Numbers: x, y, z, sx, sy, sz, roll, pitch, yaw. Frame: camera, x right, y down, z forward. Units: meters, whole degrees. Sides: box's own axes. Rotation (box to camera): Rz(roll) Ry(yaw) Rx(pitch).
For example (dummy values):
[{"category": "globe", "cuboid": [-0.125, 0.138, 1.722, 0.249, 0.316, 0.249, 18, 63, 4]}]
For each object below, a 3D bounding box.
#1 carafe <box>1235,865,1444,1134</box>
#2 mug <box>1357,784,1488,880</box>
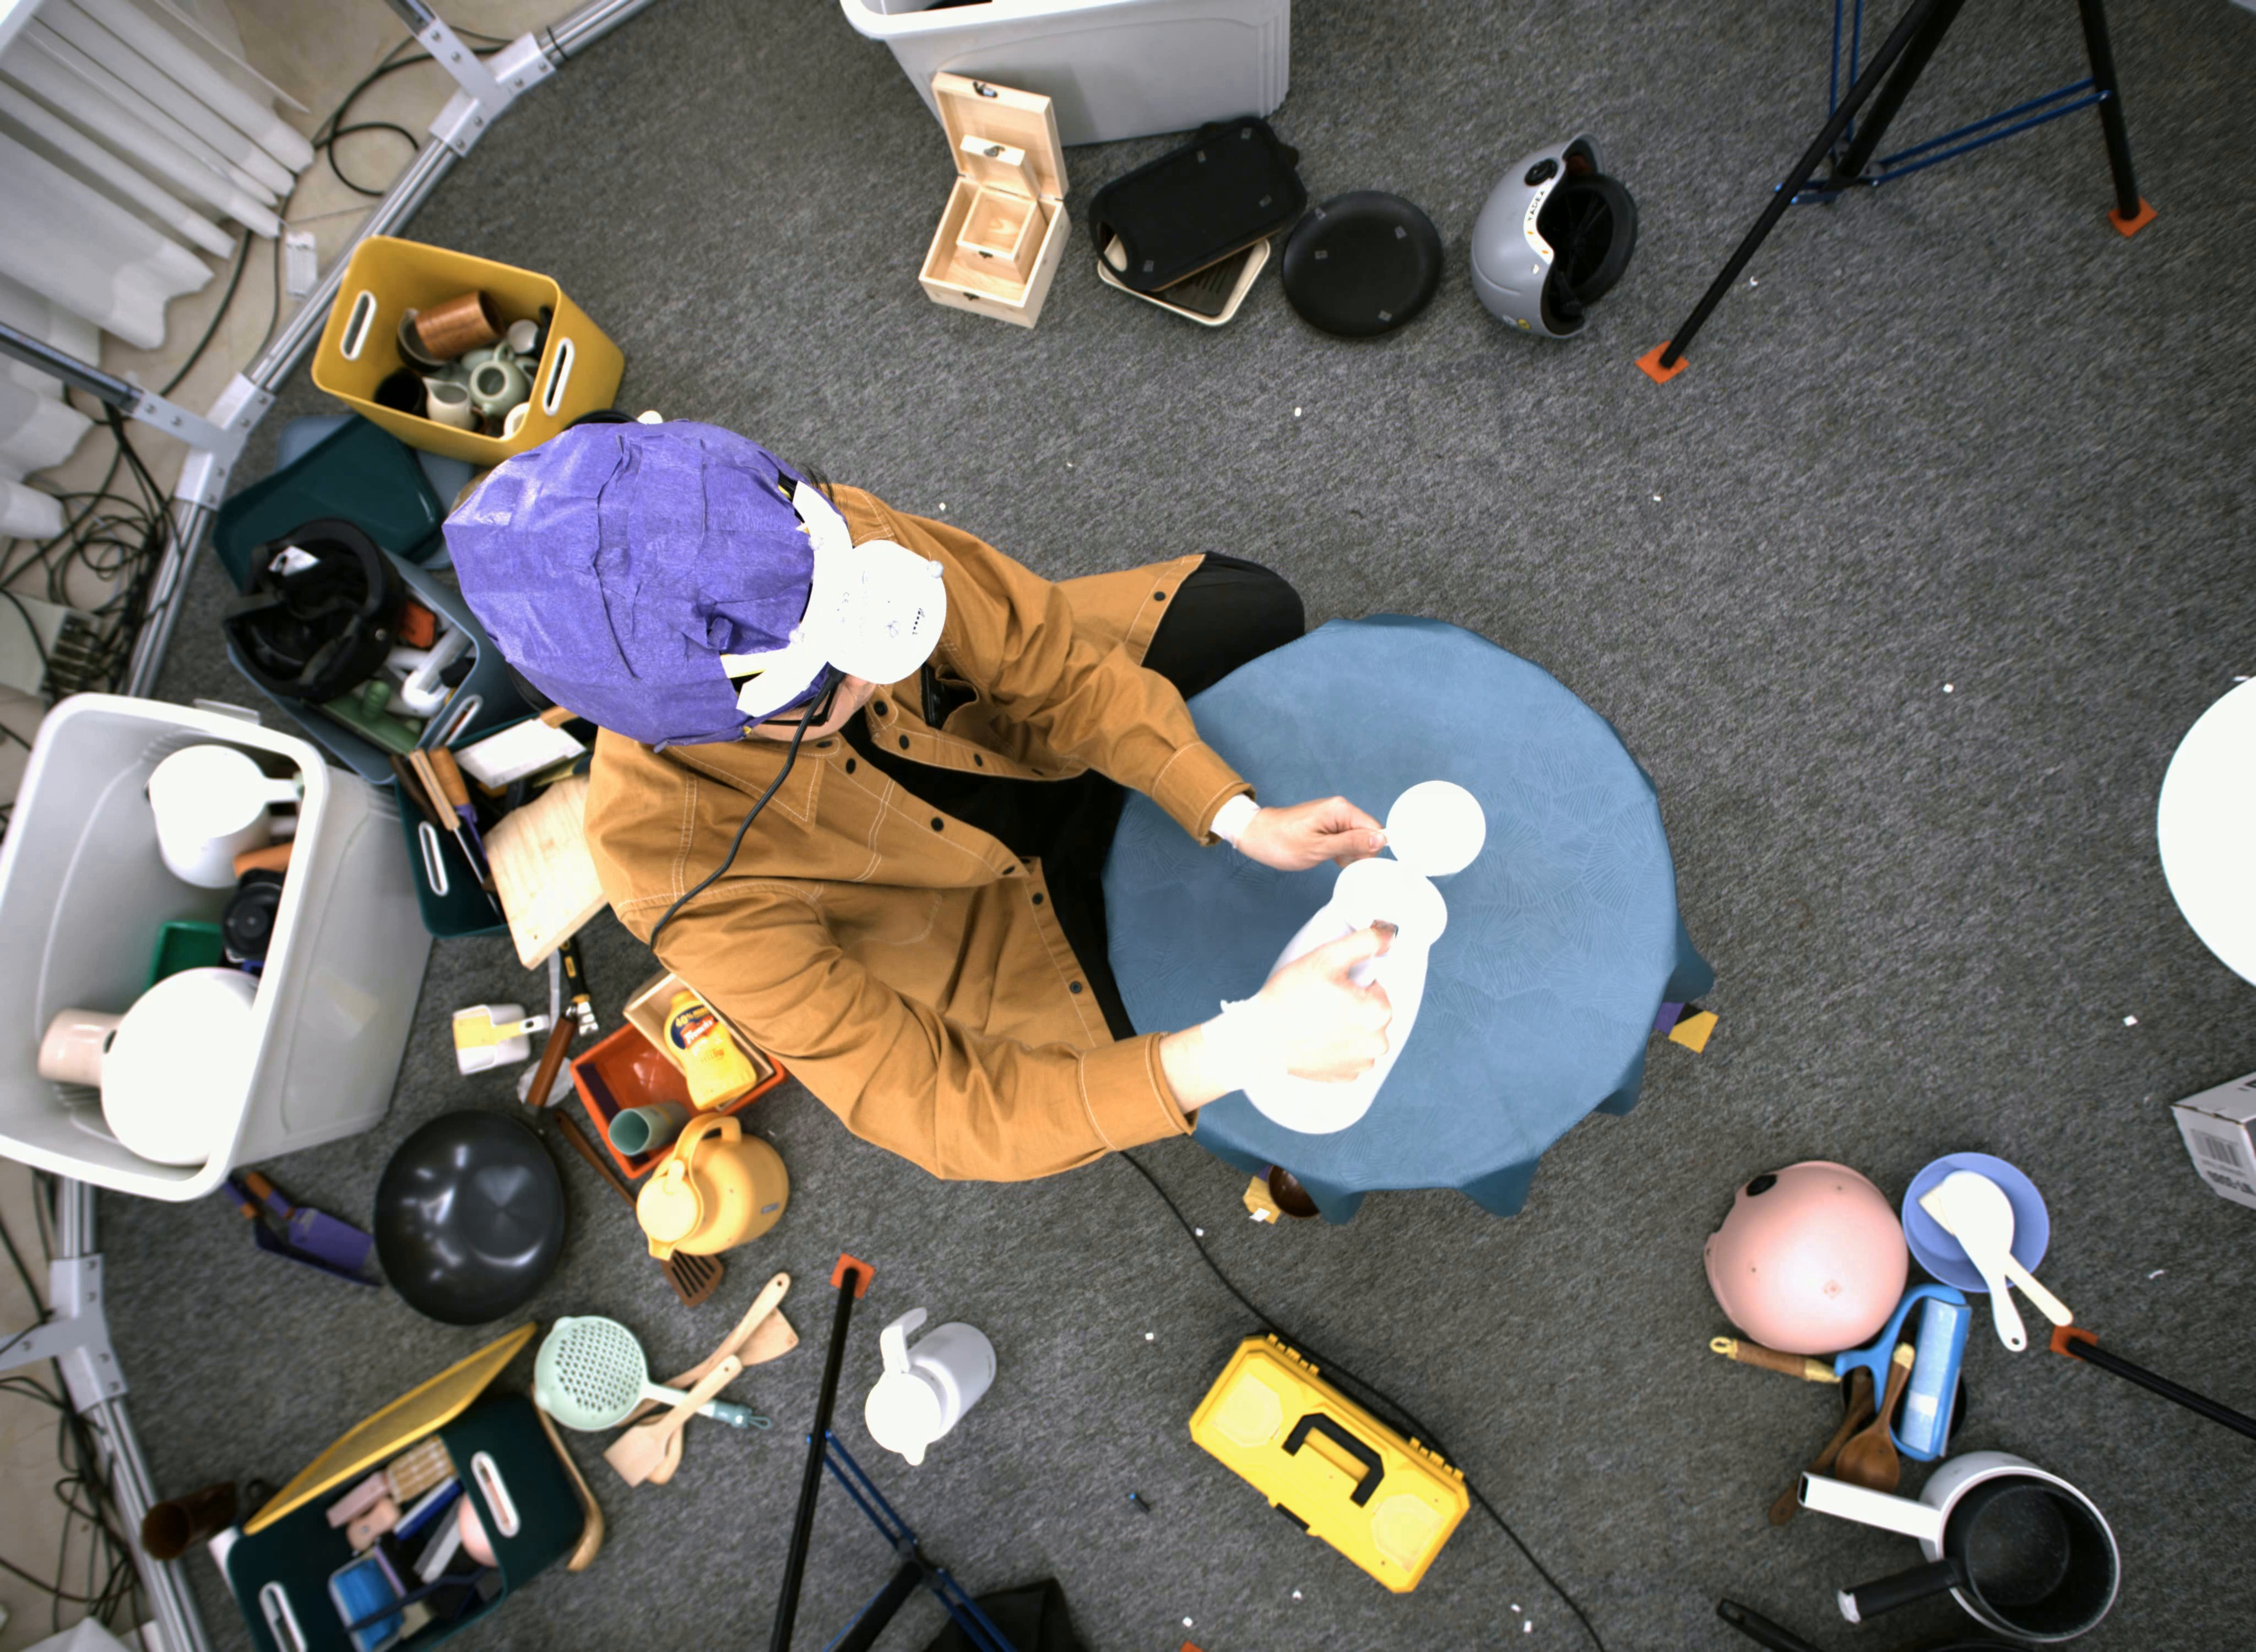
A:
[{"category": "carafe", "cuboid": [0.178, 0.154, 1.163, 0.132, 0.255, 0.163, 25, 49, 8]}, {"category": "mug", "cuboid": [0.272, 0.006, 1.275, 0.119, 0.101, 0.085, -10, 90, 14]}]
